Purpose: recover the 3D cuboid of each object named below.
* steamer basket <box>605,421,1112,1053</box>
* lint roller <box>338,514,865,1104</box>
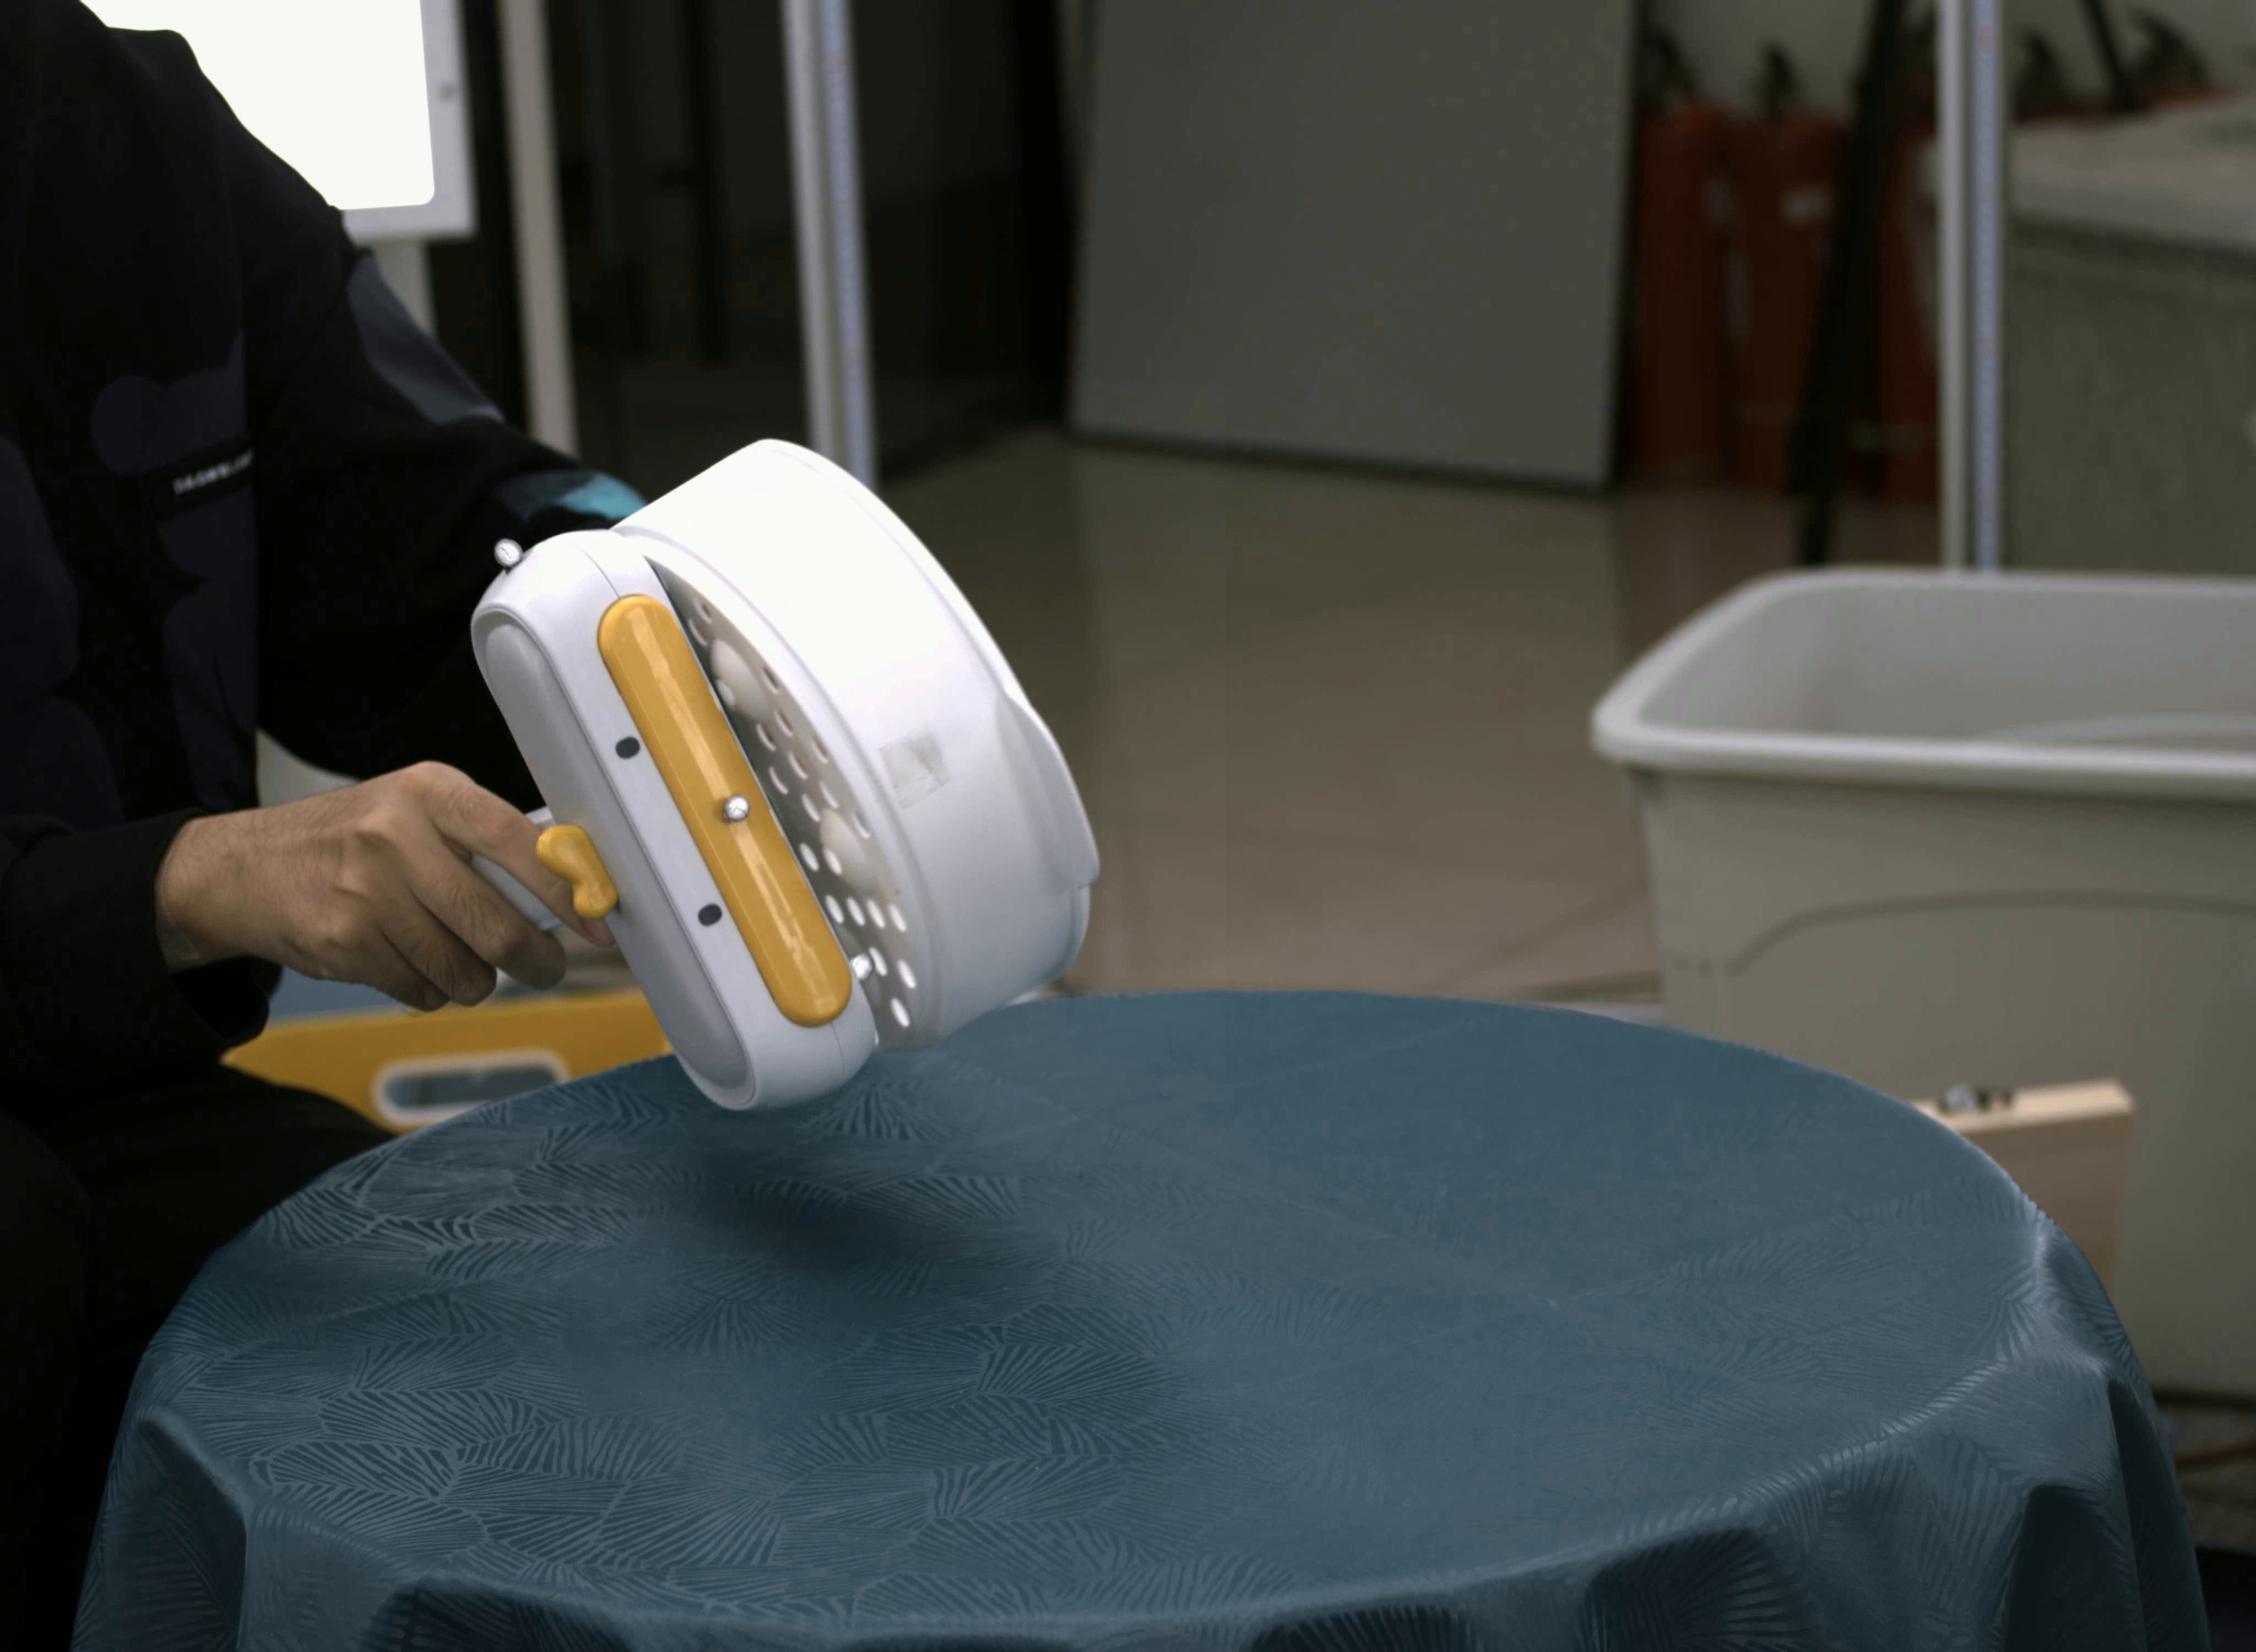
[{"bbox_3d":[-0.094,-0.024,1.707,0.068,0.202,0.233,-31,29,-23],"label":"steamer basket"},{"bbox_3d":[-0.182,0.012,1.724,0.073,0.193,0.194,-35,9,-37],"label":"lint roller"}]
